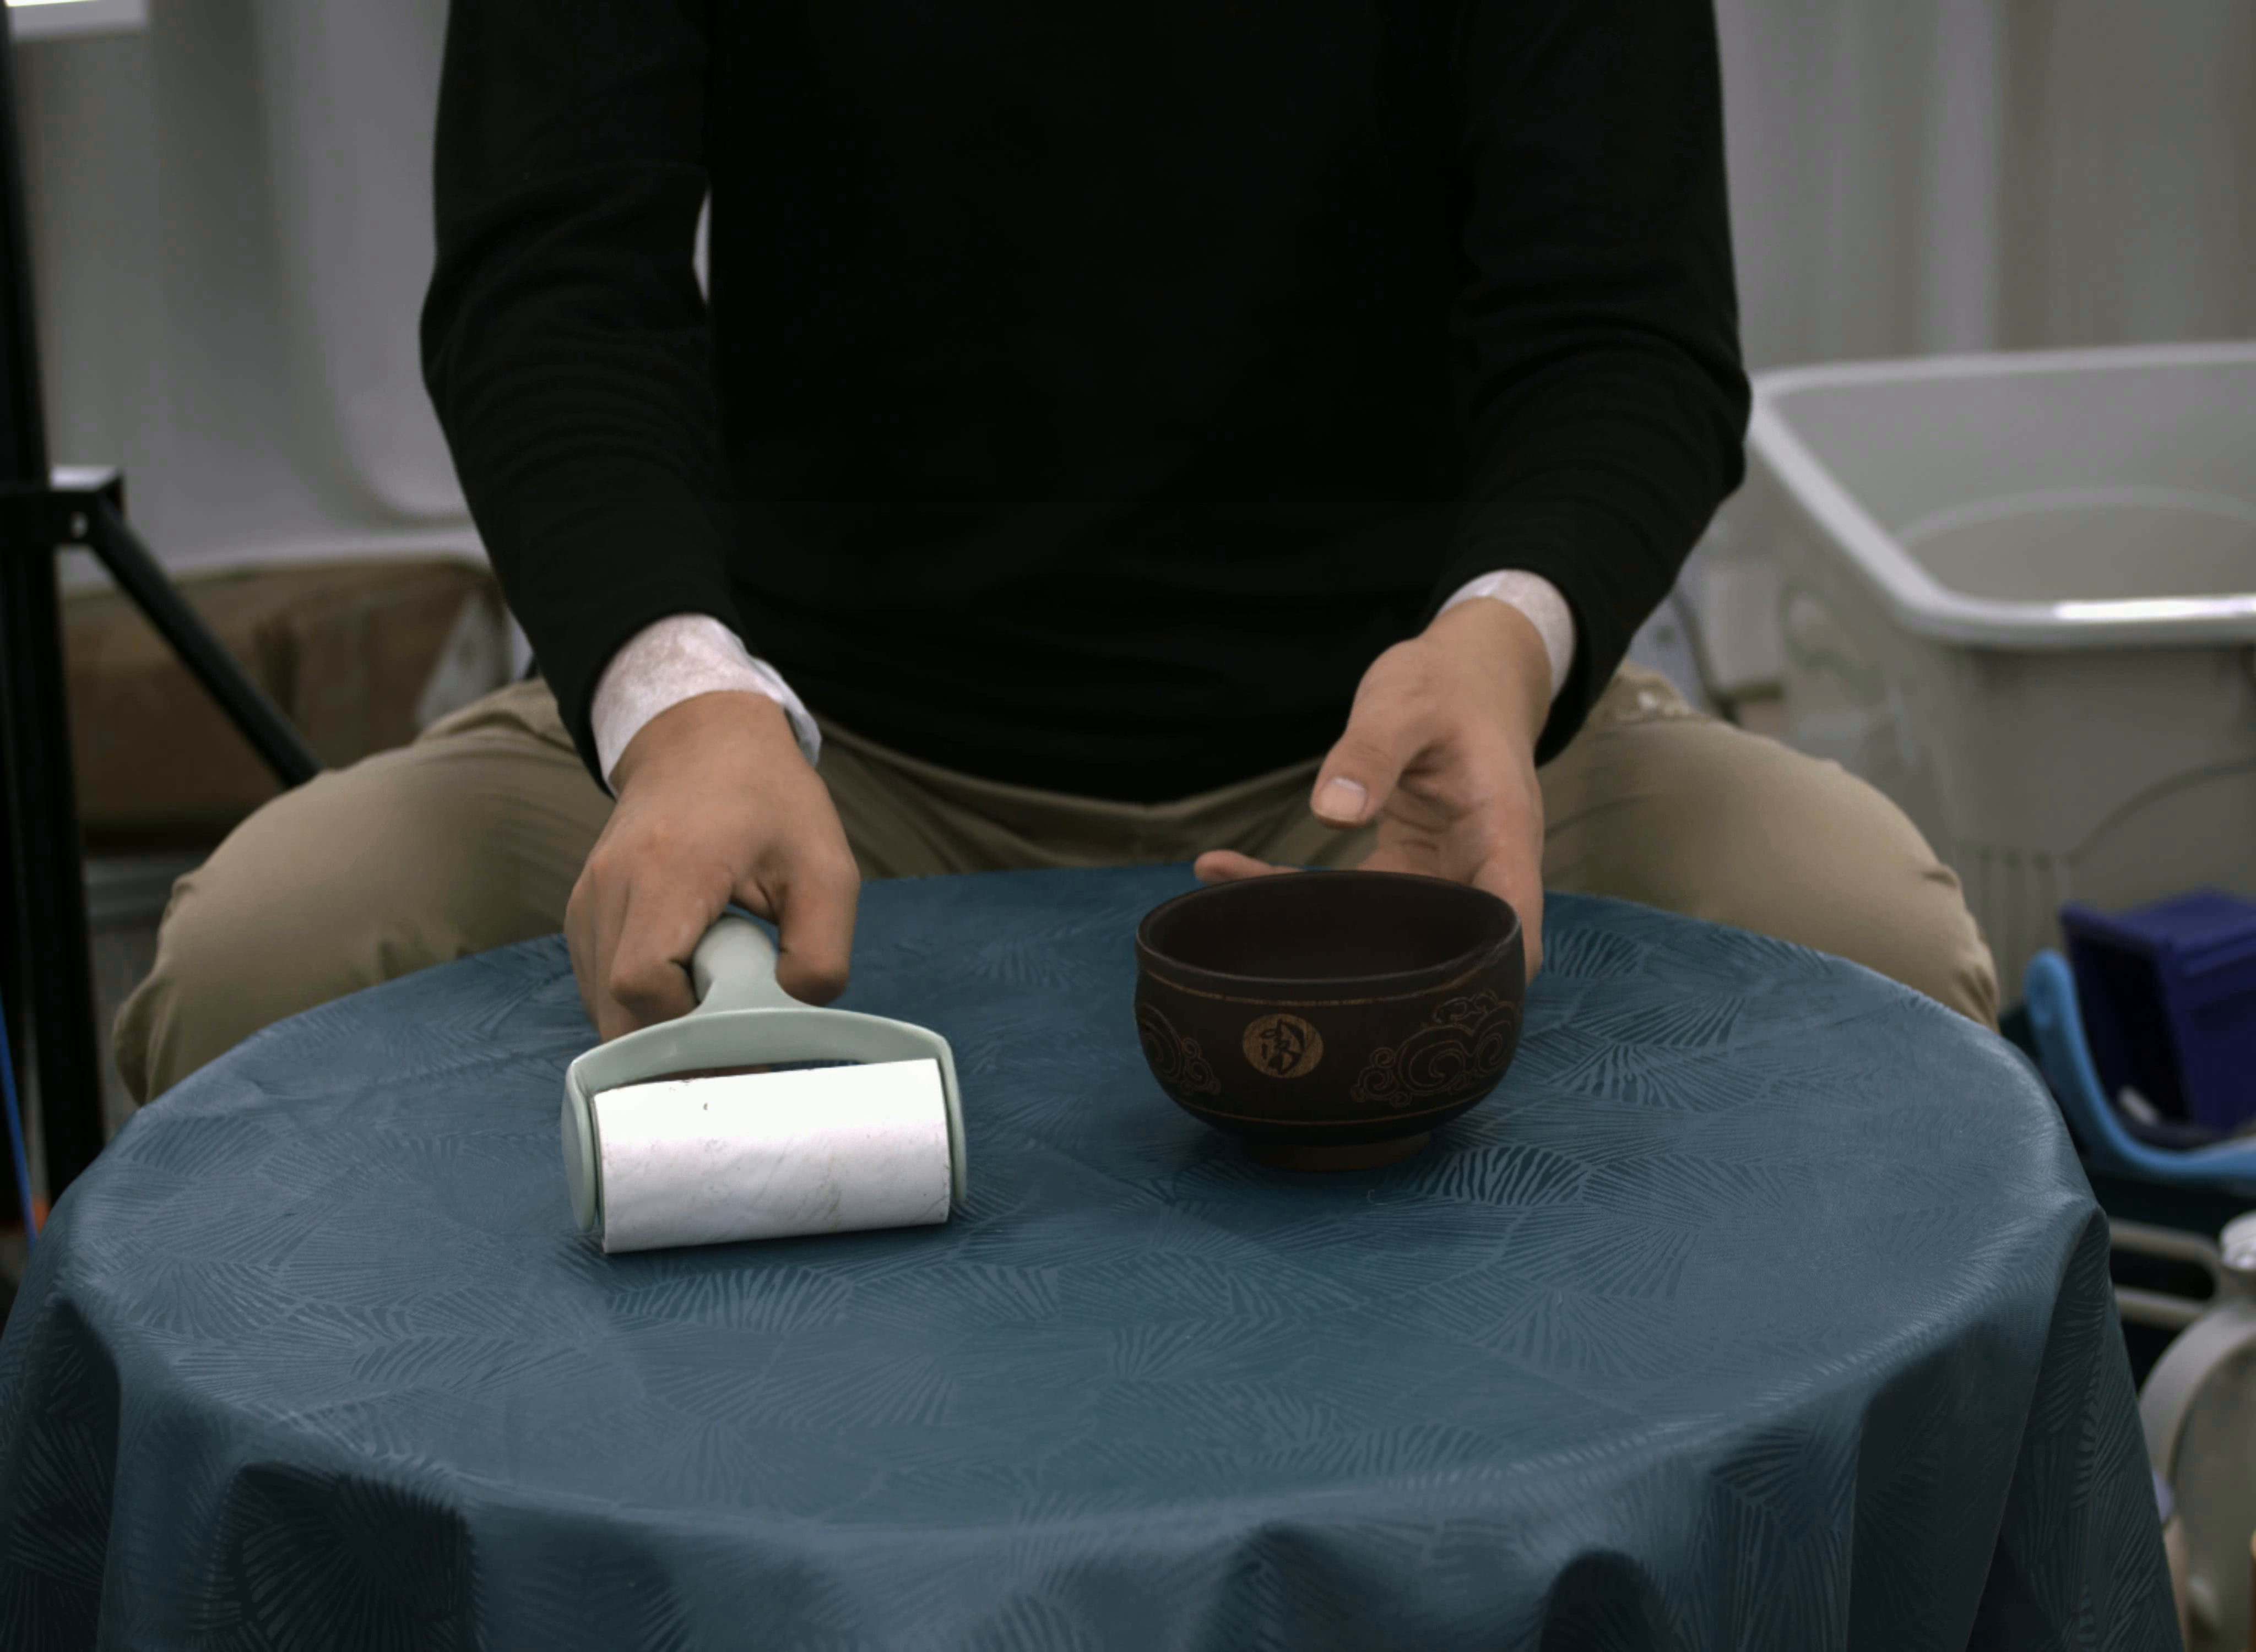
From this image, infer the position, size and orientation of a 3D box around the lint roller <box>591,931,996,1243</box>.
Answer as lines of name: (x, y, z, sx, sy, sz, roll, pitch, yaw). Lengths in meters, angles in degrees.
lint roller: (-0.107, 0.065, 1.600, 0.115, 0.048, 0.200, -5, 23, -7)

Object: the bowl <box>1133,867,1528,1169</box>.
bowl: (0.061, 0.061, 1.582, 0.117, 0.070, 0.118, -4, 14, 0)
